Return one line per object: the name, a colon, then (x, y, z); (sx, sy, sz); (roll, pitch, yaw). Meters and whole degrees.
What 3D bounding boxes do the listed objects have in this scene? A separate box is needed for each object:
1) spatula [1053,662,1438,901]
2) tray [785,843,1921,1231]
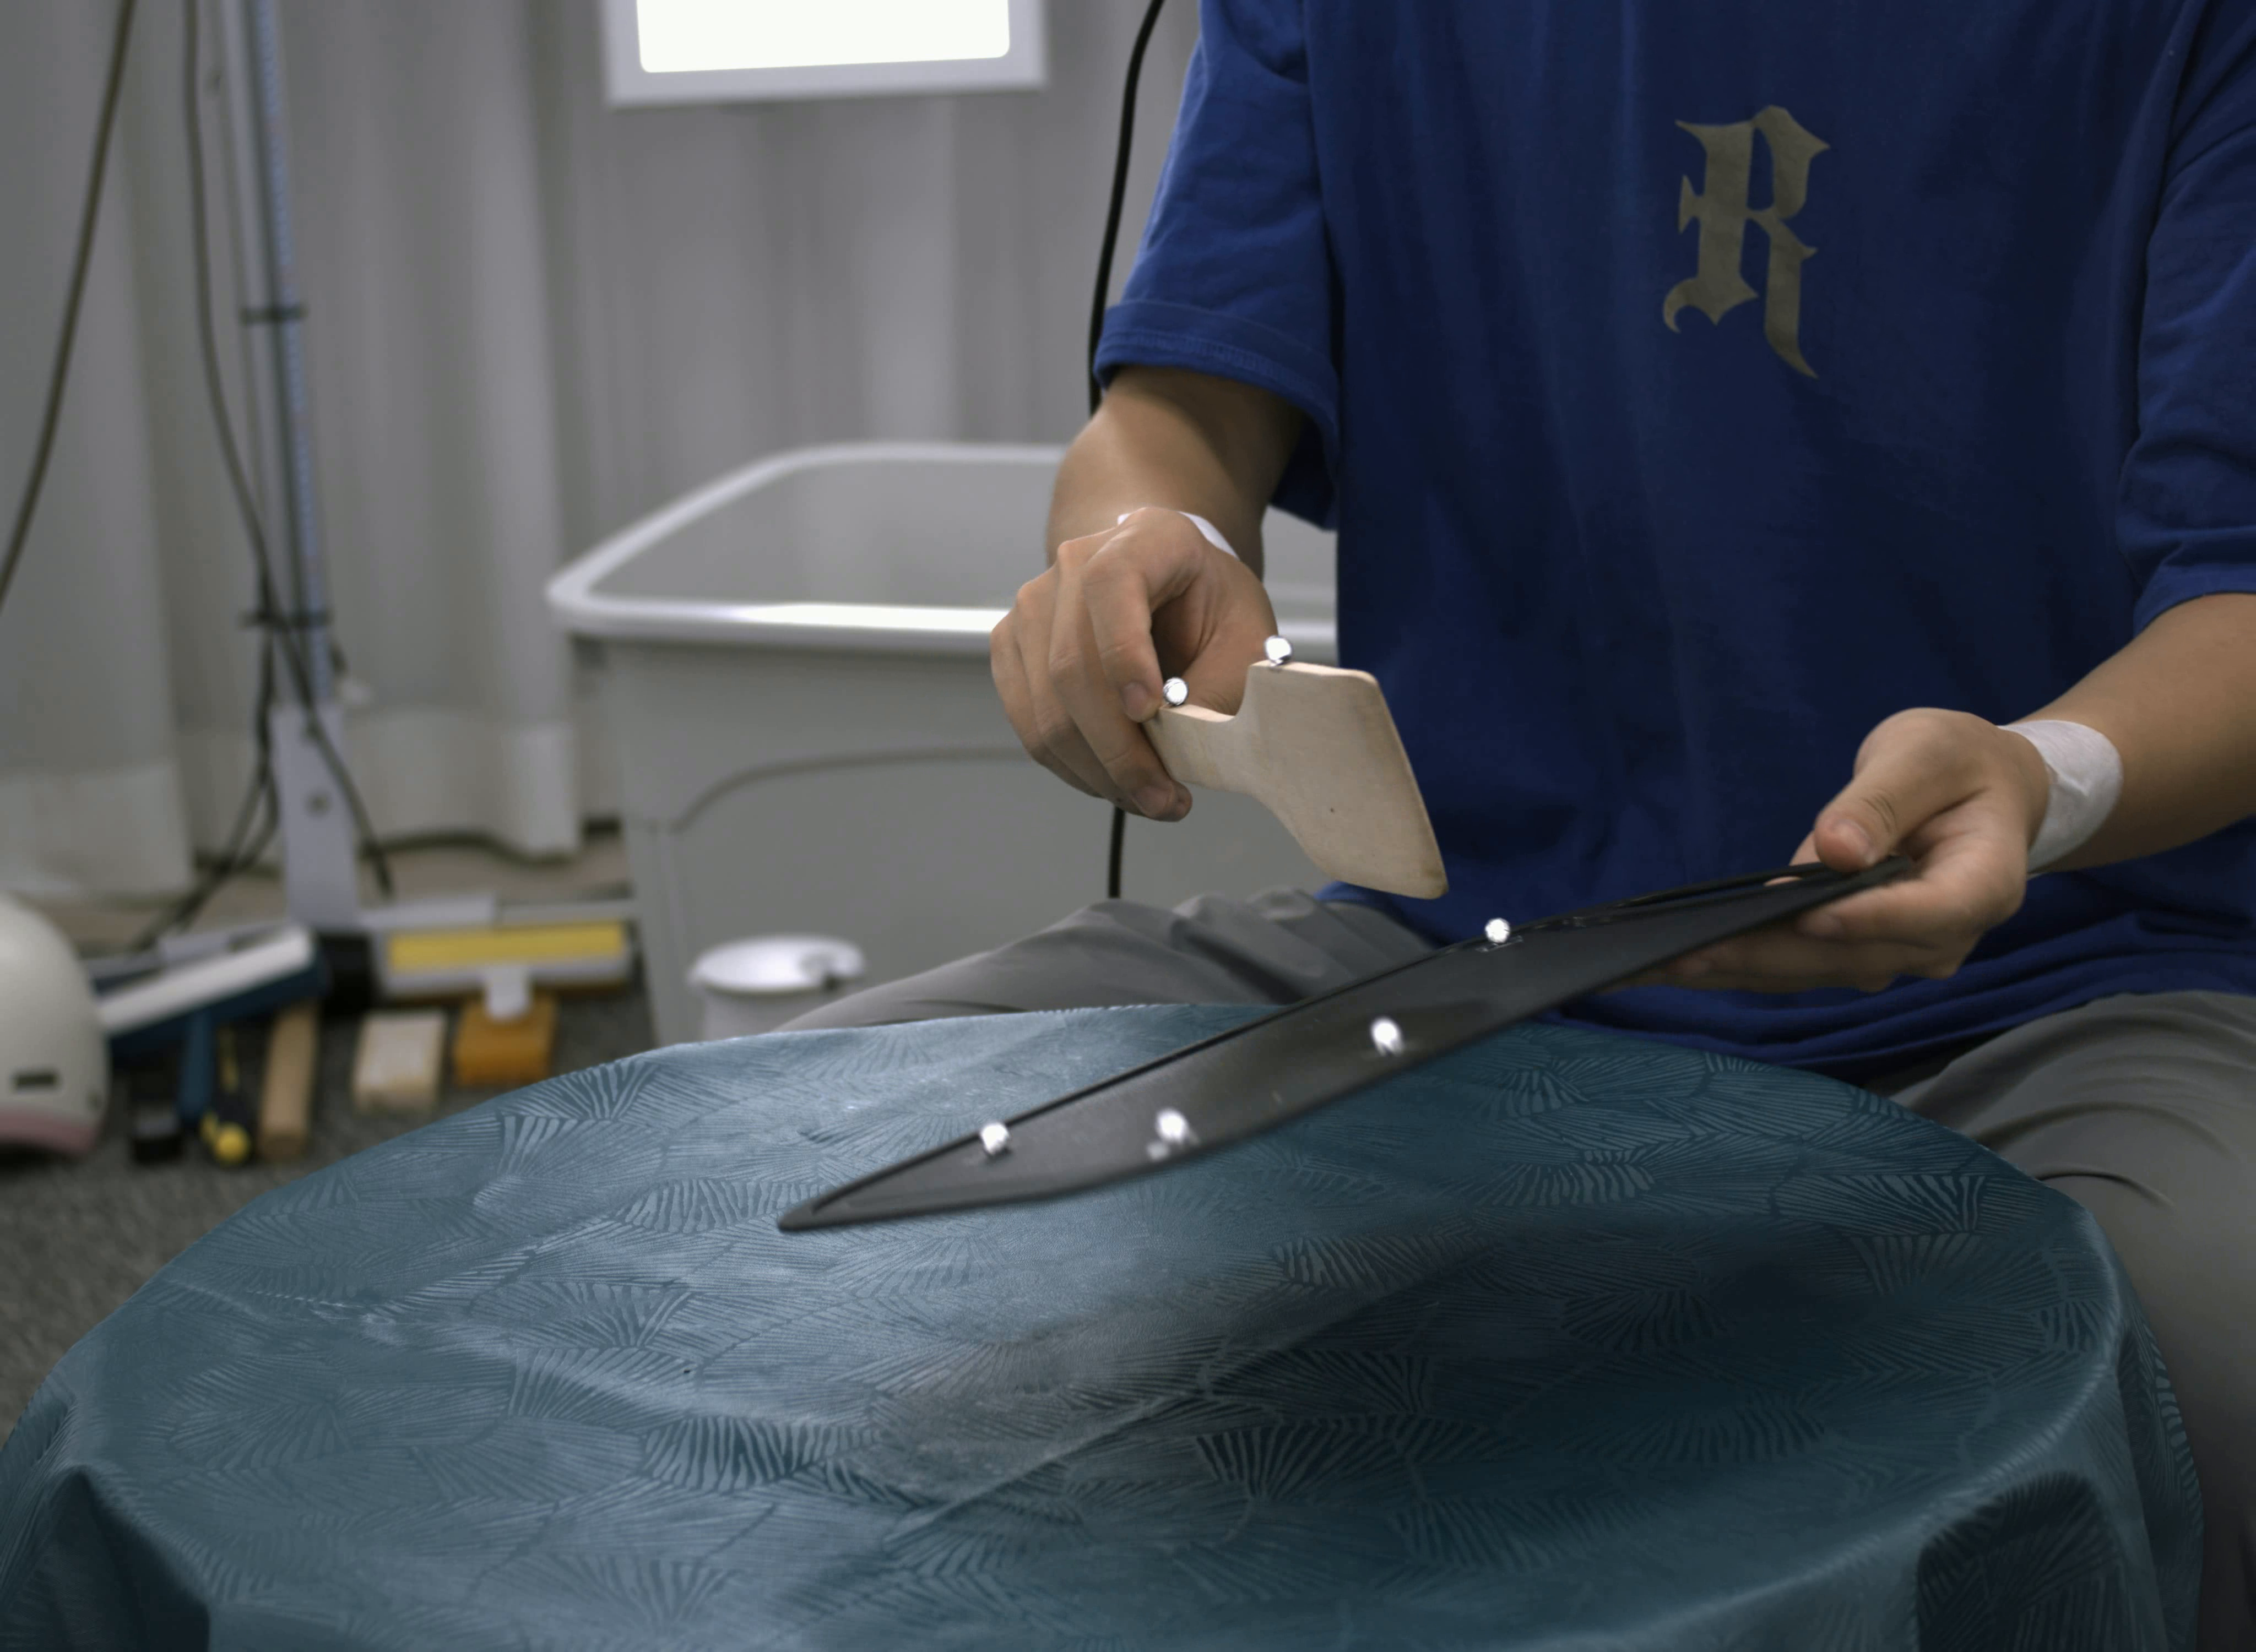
spatula: (0.026, -0.024, 1.680); (0.010, 0.072, 0.294); (-24, 13, -15)
tray: (0.070, 0.056, 1.538); (0.325, 0.010, 0.211); (-20, 4, -33)
